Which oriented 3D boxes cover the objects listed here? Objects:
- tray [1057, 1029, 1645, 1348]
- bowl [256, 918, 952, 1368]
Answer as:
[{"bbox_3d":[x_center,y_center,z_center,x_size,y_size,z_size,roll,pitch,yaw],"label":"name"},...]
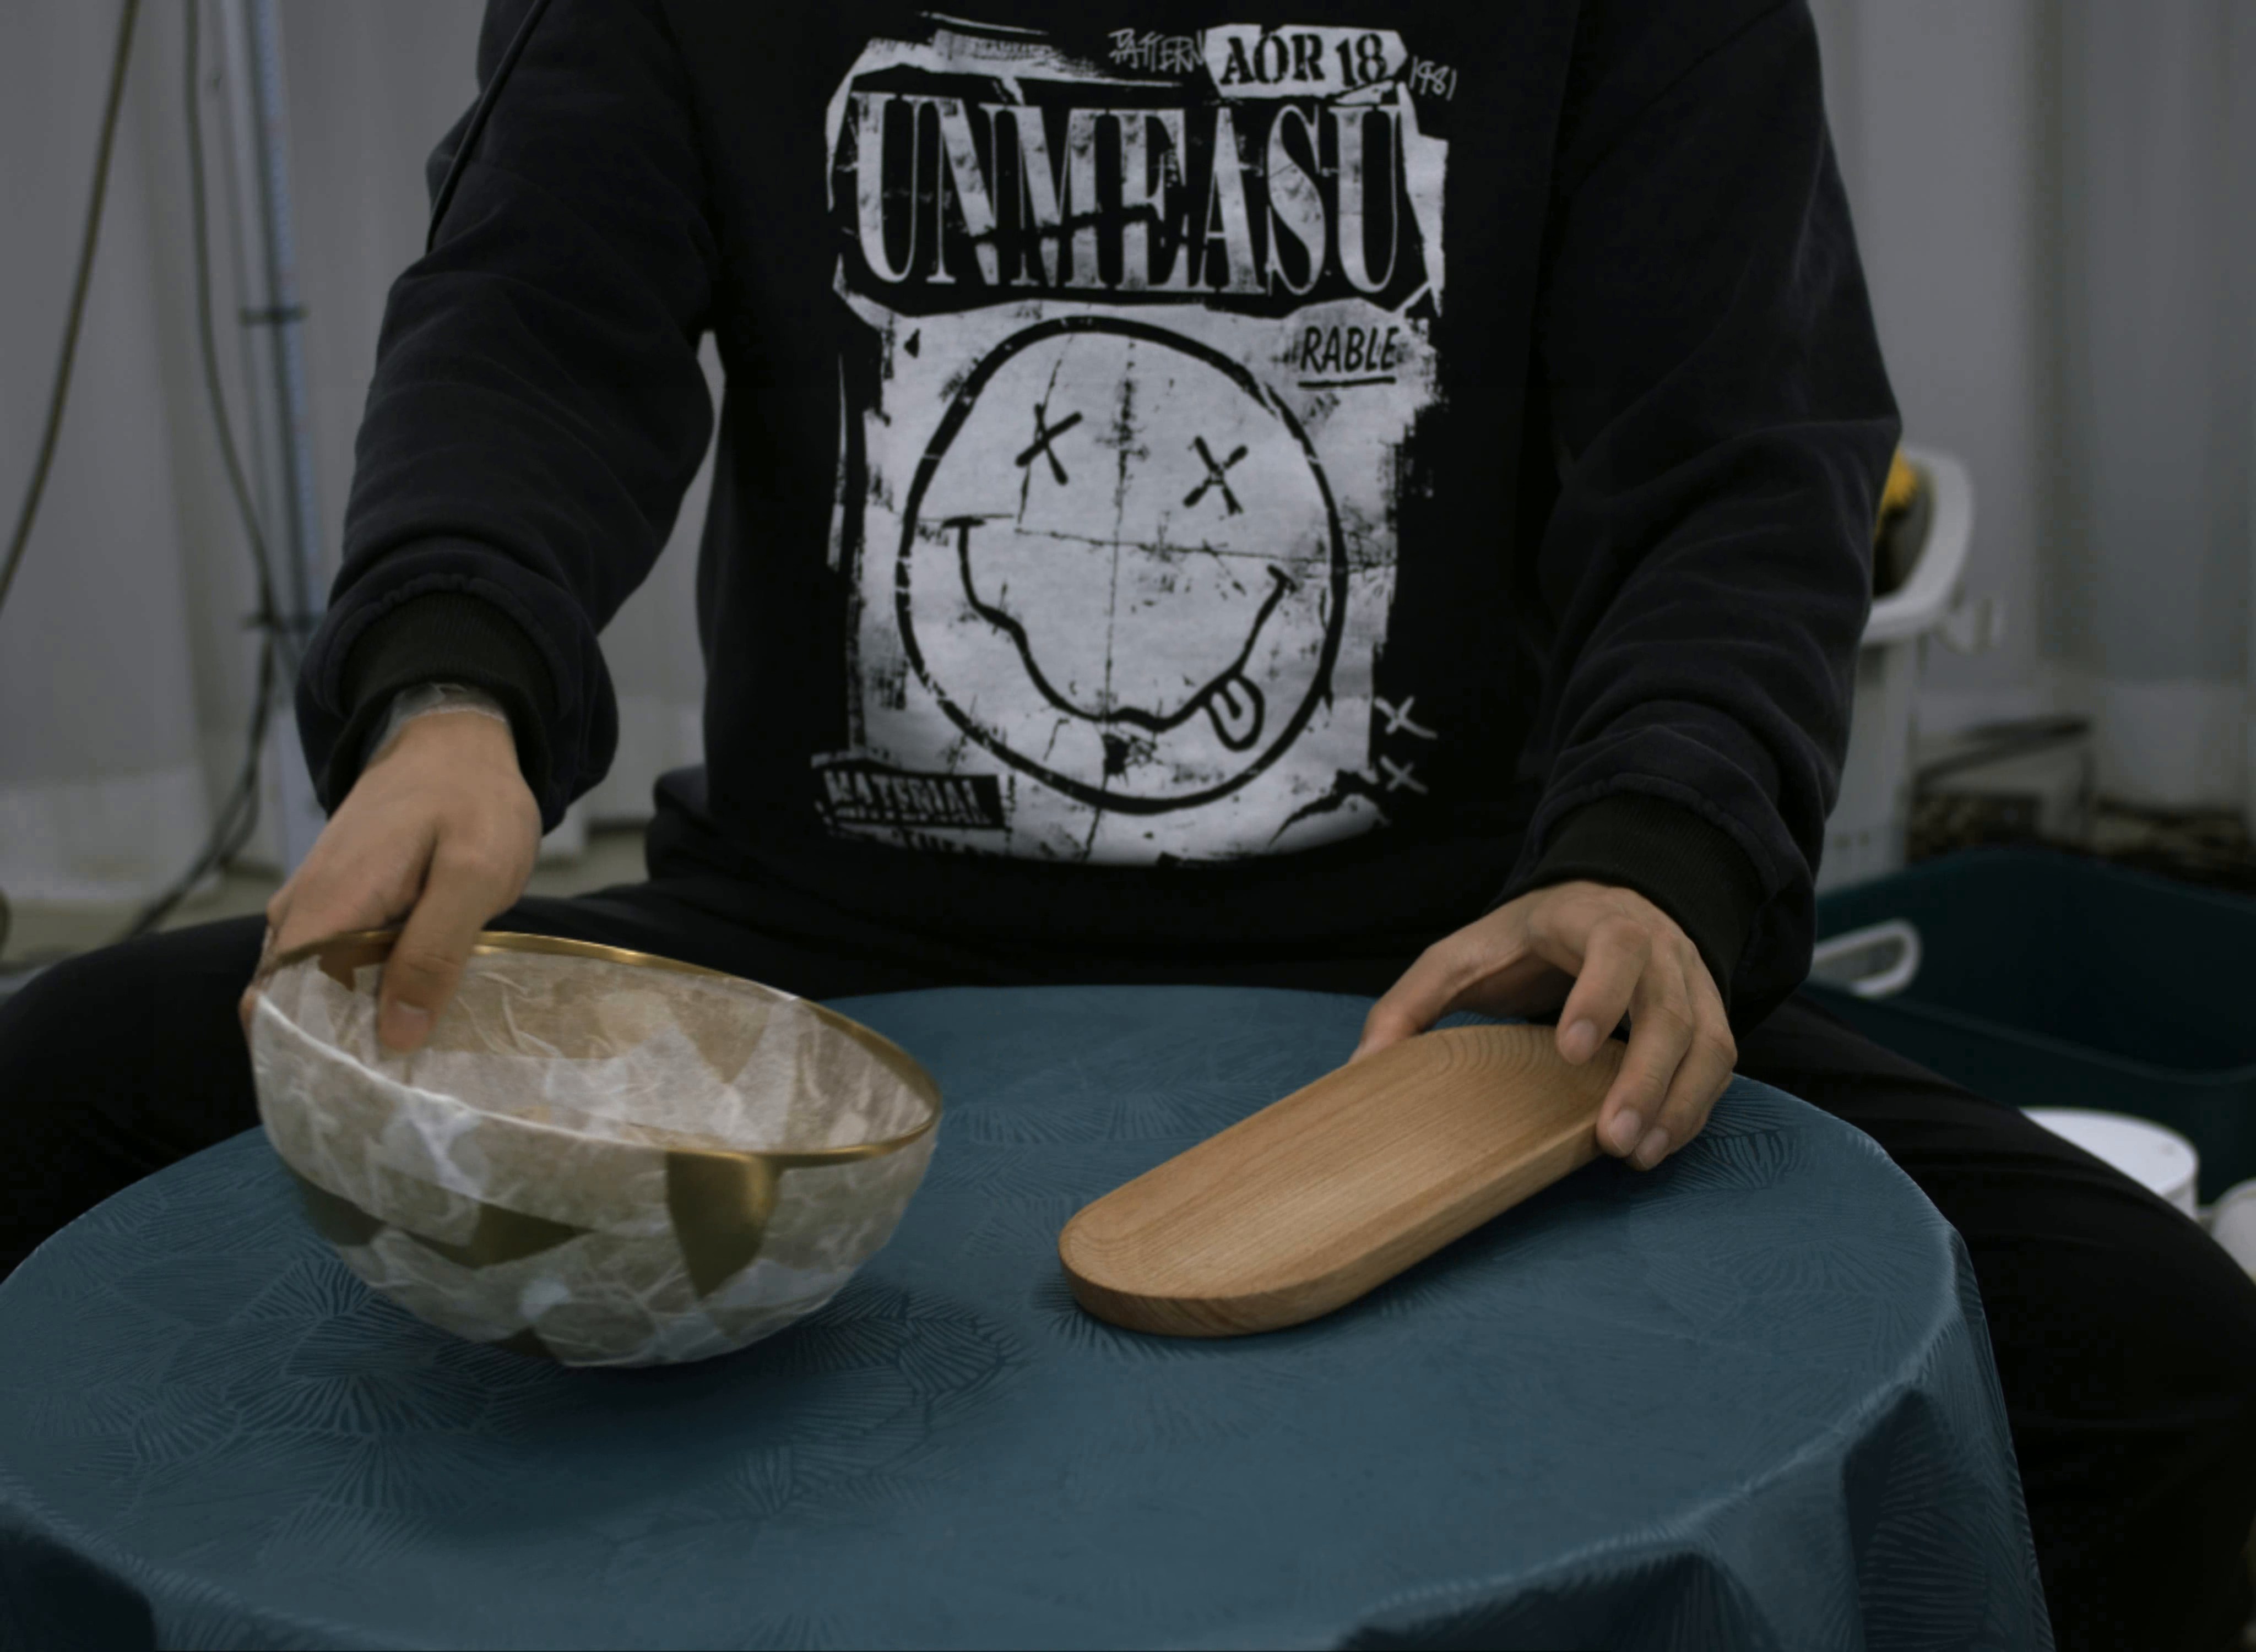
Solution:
[{"bbox_3d":[0.071,0.109,1.666,0.102,0.020,0.231,7,24,39],"label":"tray"},{"bbox_3d":[-0.154,0.102,1.592,0.214,0.094,0.216,10,12,-2],"label":"bowl"}]
